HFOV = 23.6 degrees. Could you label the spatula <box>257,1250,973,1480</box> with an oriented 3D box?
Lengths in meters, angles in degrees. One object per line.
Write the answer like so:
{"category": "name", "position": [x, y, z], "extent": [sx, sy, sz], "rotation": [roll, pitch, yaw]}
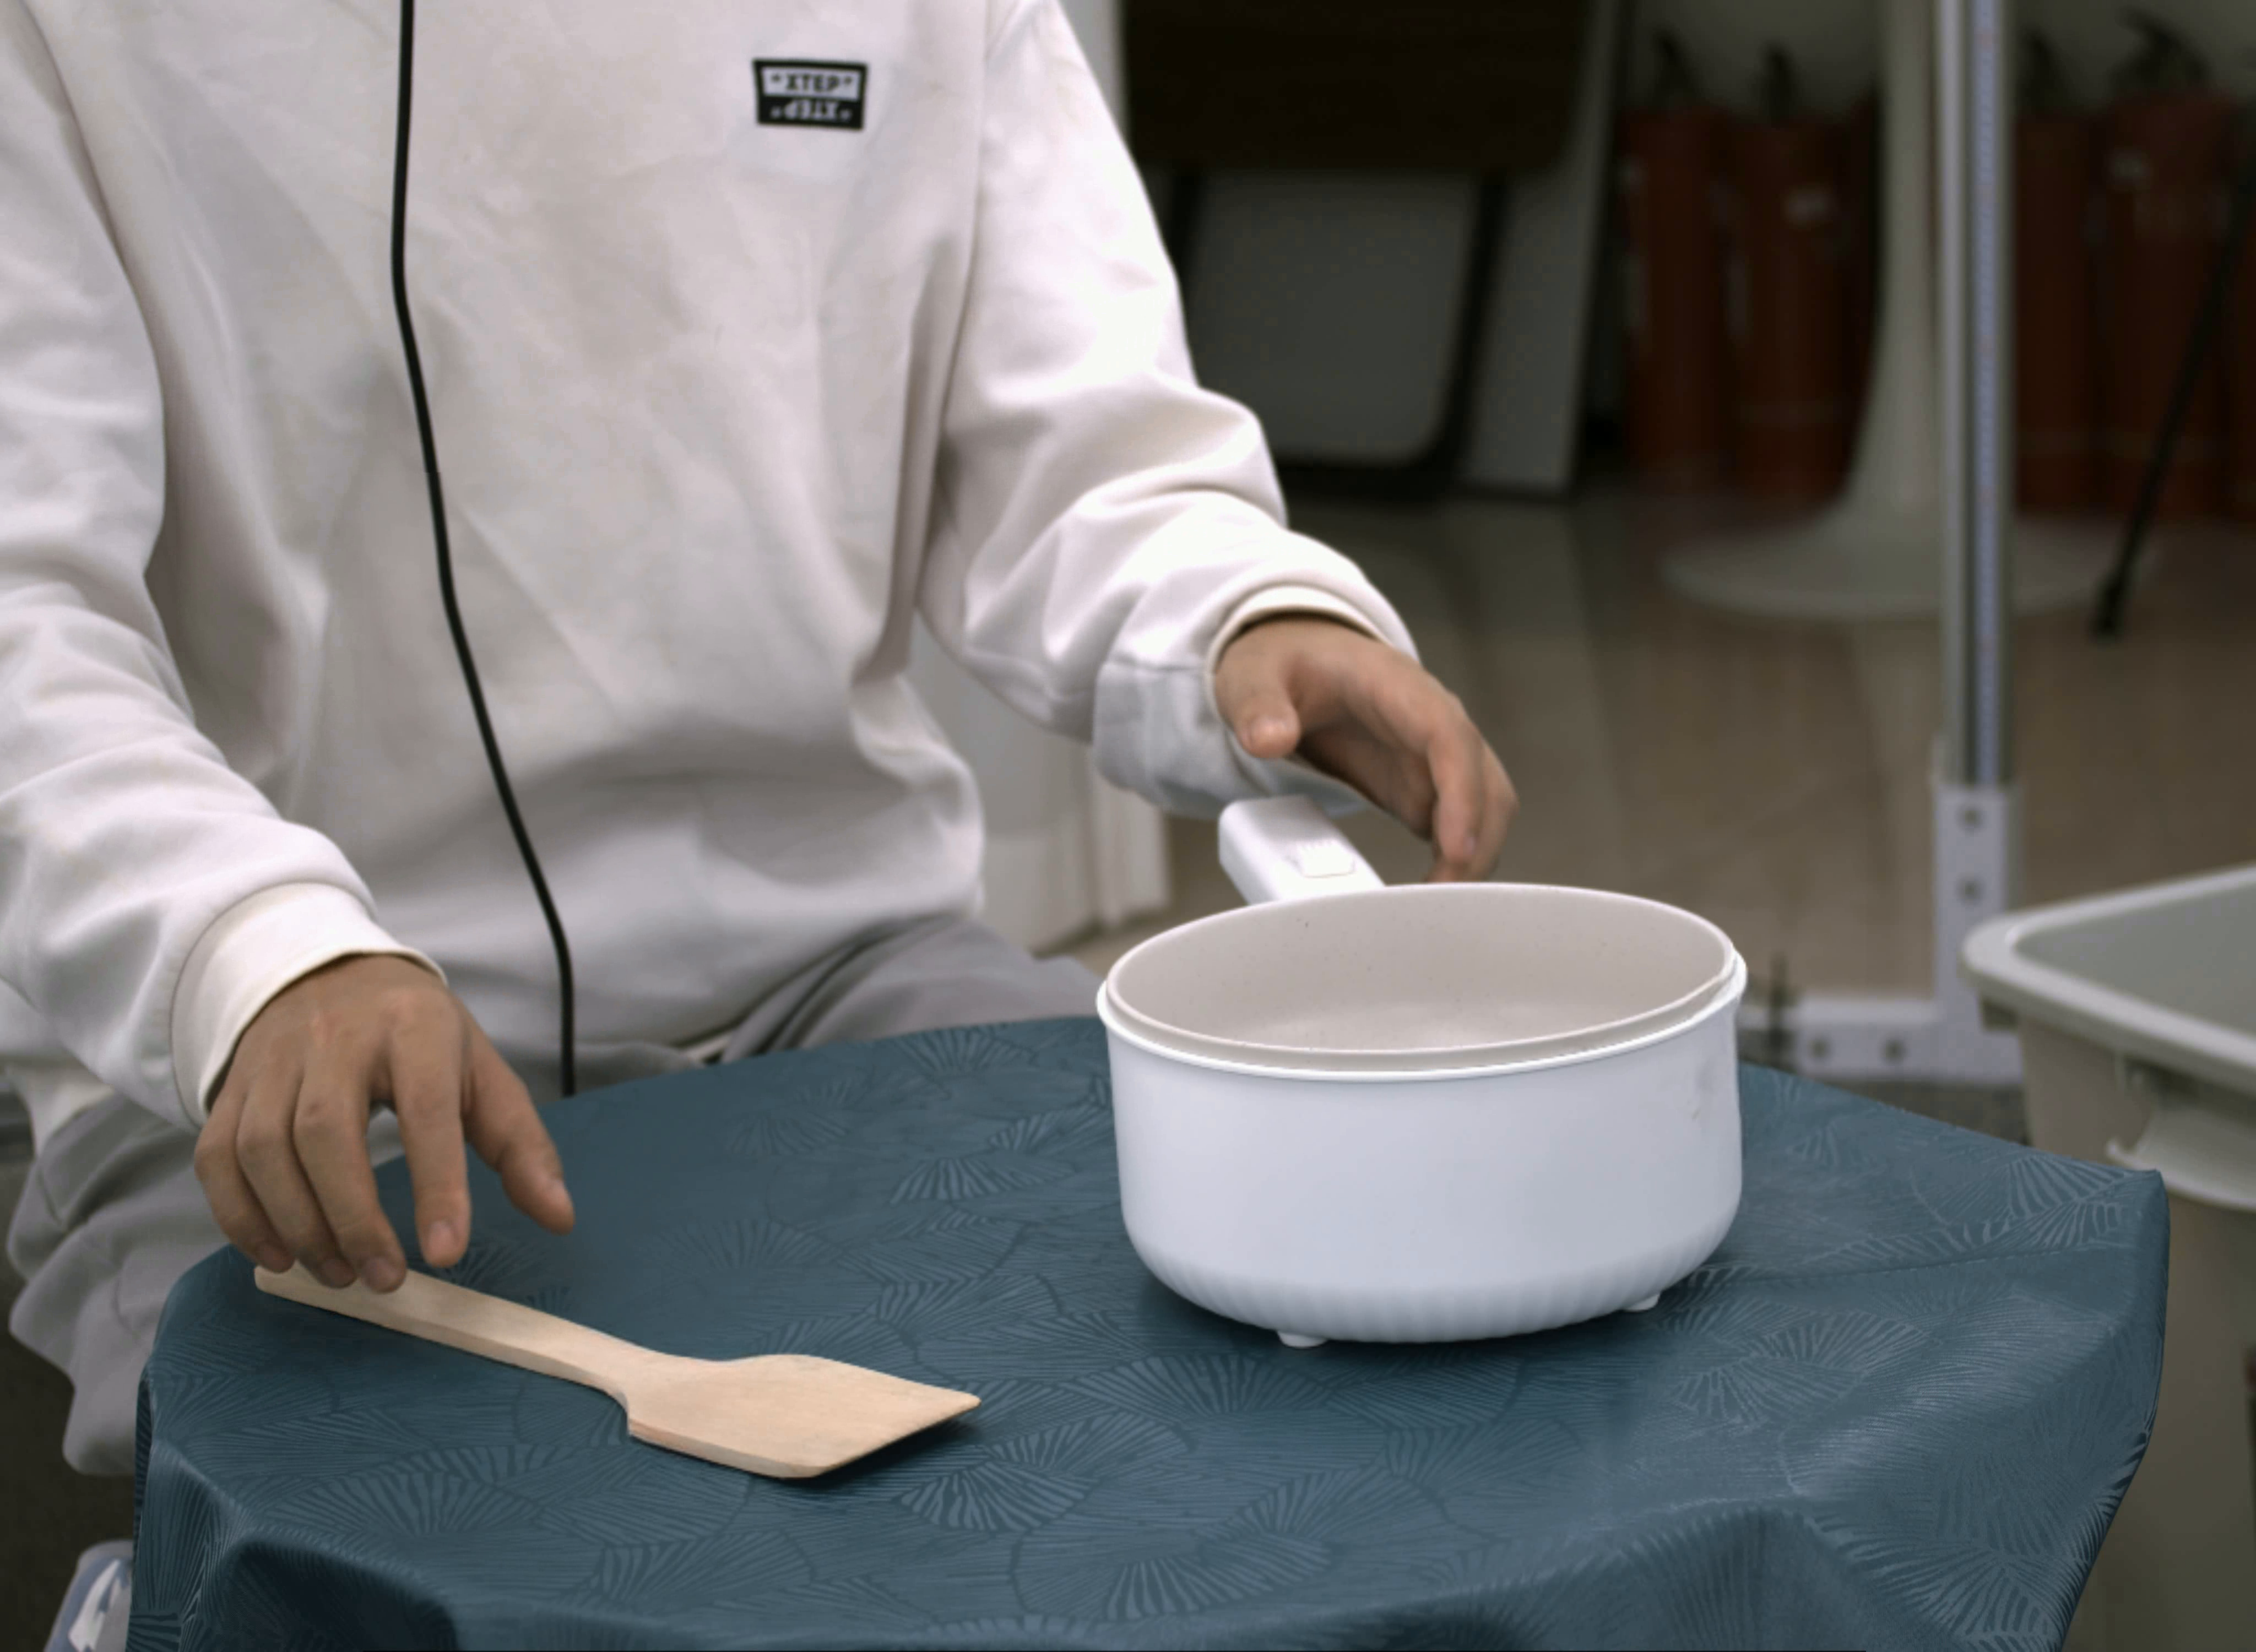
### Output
{"category": "spatula", "position": [-0.170, 0.160, 1.642], "extent": [0.296, 0.011, 0.071], "rotation": [9, 20, 44]}

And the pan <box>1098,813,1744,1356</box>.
{"category": "pan", "position": [0.081, 0.077, 1.736], "extent": [0.198, 0.103, 0.356], "rotation": [-7, 12, -7]}
